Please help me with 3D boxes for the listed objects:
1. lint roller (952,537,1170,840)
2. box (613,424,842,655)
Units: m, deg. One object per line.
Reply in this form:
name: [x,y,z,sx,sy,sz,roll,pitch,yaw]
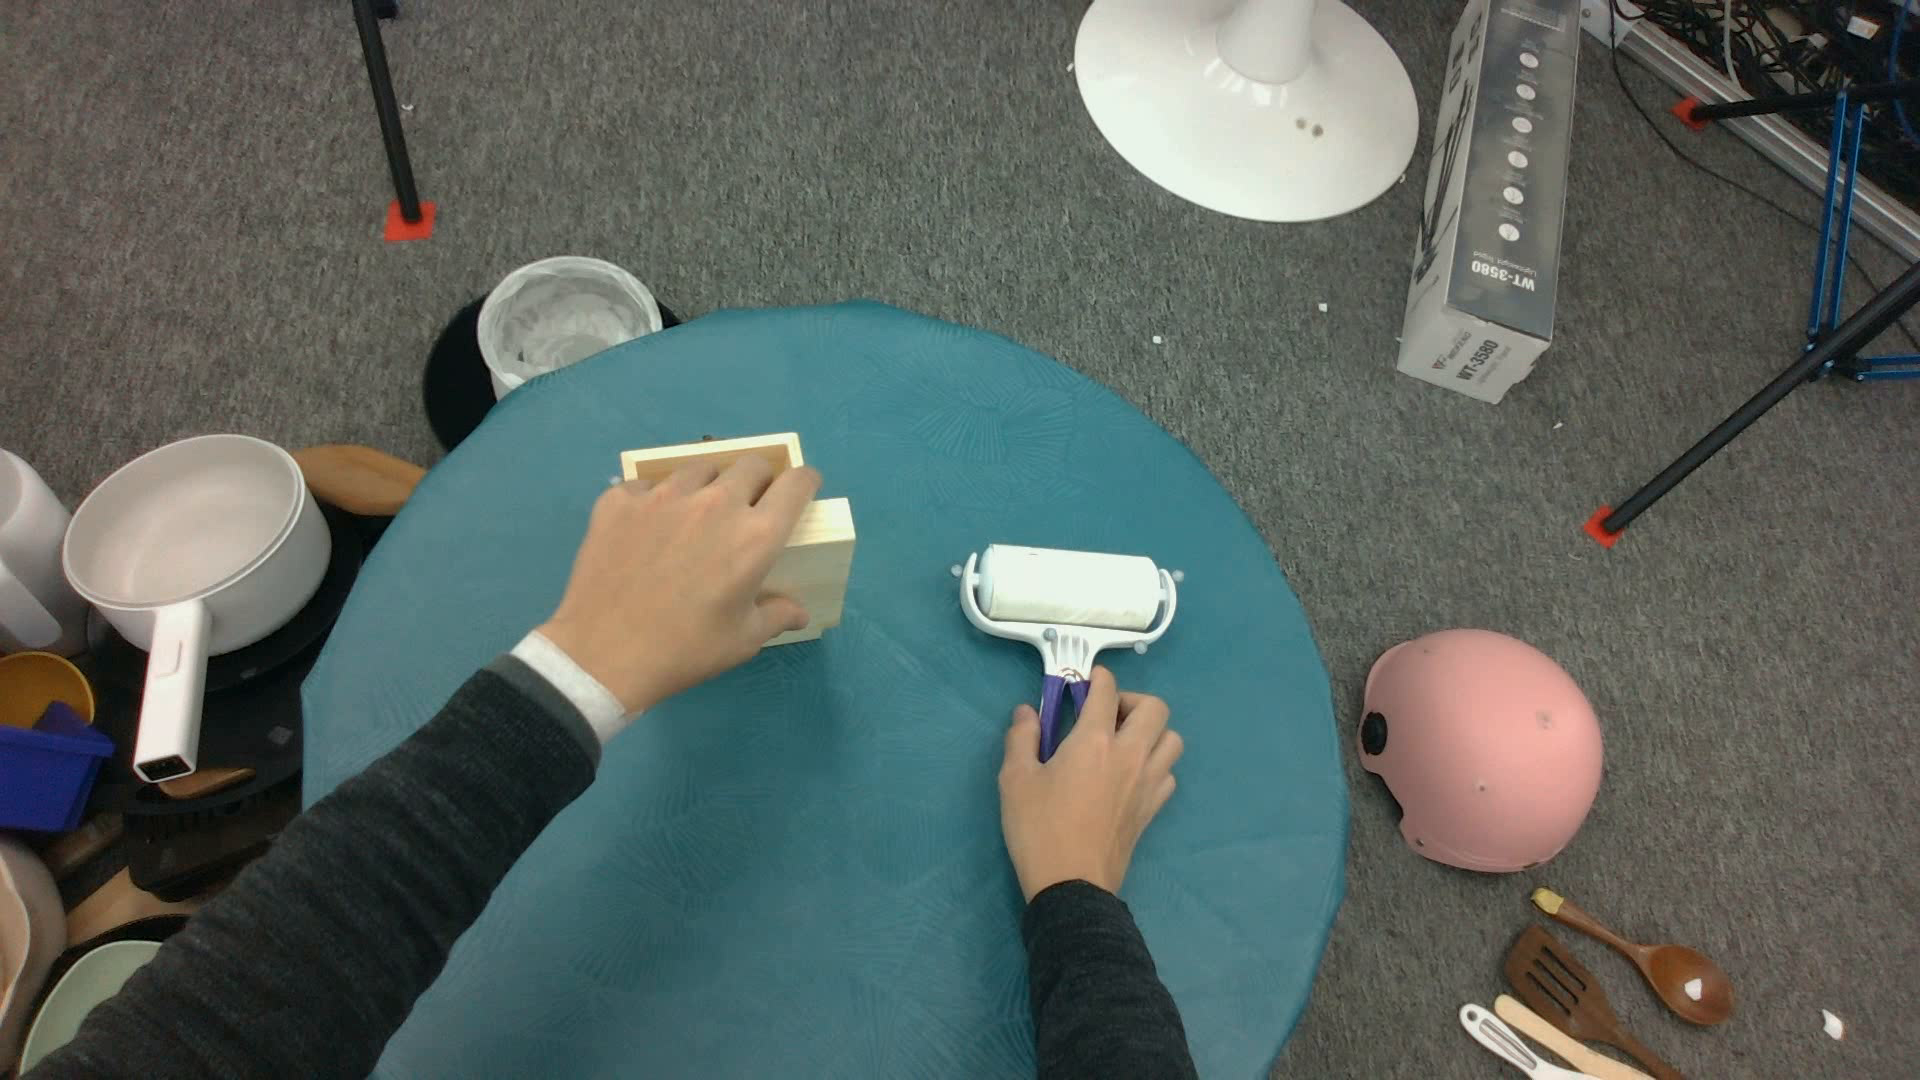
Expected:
lint roller: [0.060,0.082,0.810,0.133,0.050,0.181,7,59,-8]
box: [-0.132,-0.015,0.748,0.103,0.183,0.134,-8,65,-14]
